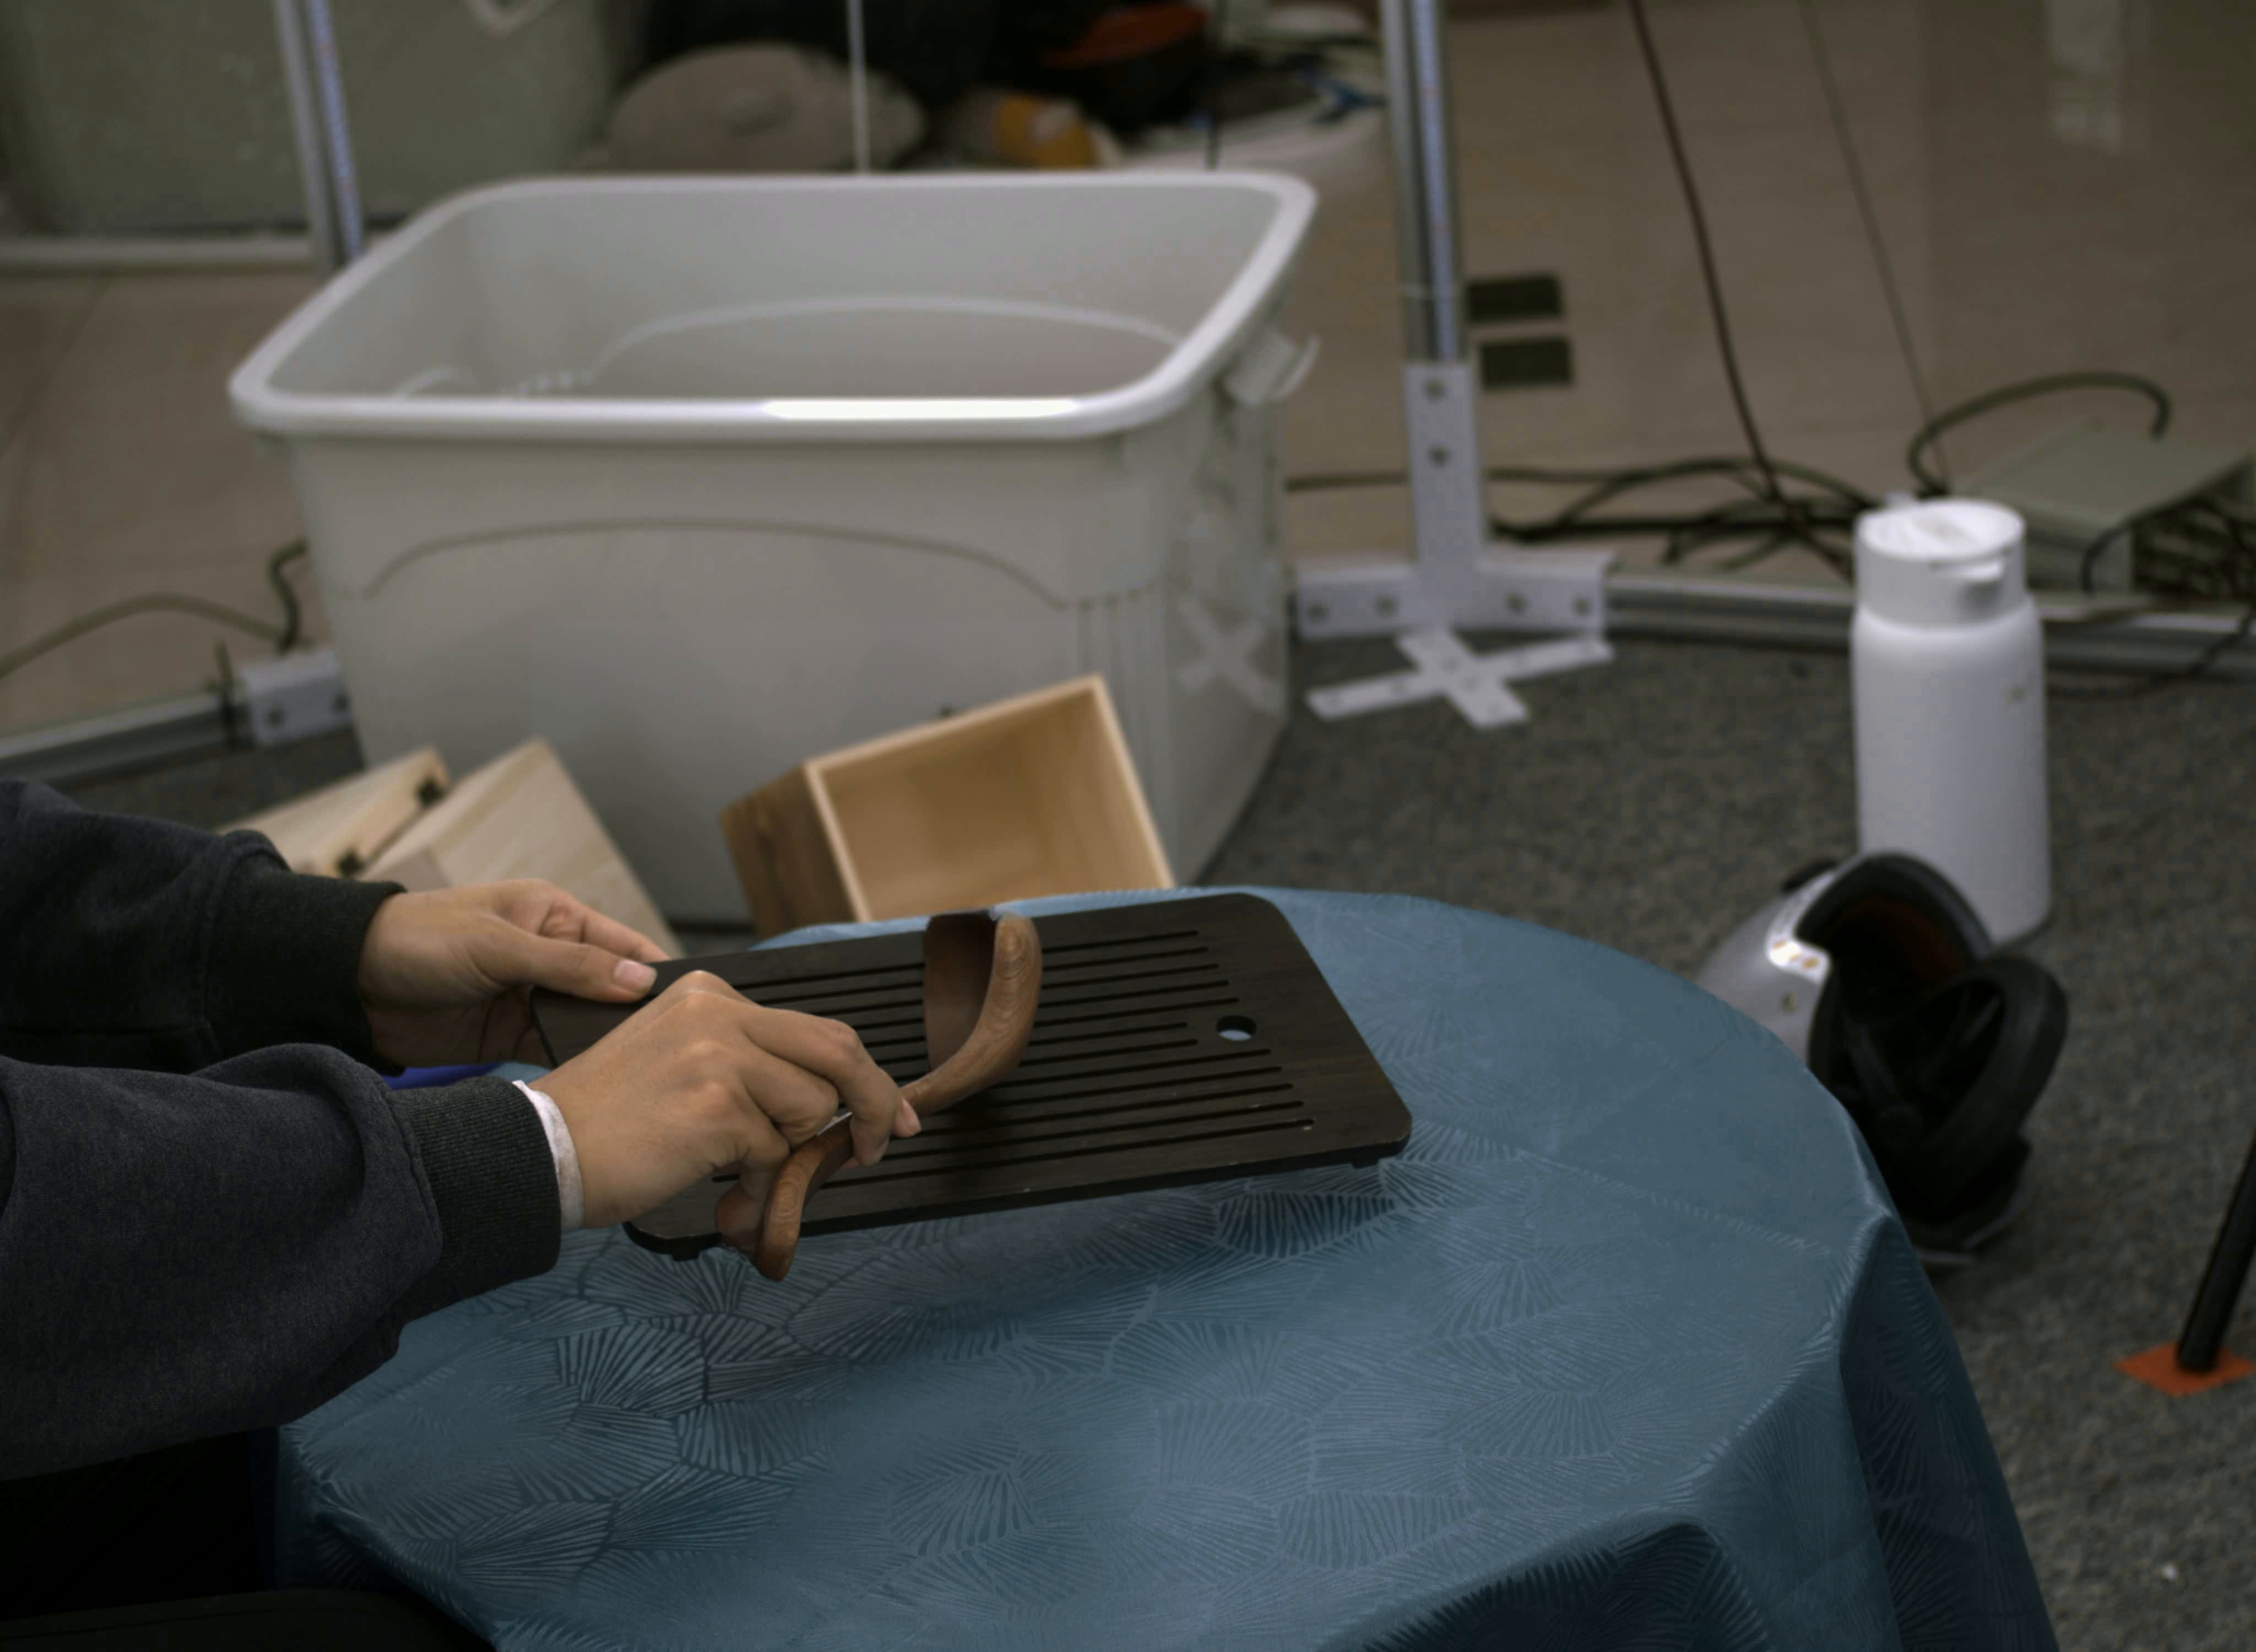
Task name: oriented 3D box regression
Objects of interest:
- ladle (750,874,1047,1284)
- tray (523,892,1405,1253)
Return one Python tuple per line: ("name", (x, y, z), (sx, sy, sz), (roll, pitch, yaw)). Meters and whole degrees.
("ladle", (-0.093, 0.091, 2.013), (0.065, 0.078, 0.257), (25, 30, 15))
("tray", (-0.063, 0.092, 2.130), (0.305, 0.019, 0.167), (-6, 36, -19))
